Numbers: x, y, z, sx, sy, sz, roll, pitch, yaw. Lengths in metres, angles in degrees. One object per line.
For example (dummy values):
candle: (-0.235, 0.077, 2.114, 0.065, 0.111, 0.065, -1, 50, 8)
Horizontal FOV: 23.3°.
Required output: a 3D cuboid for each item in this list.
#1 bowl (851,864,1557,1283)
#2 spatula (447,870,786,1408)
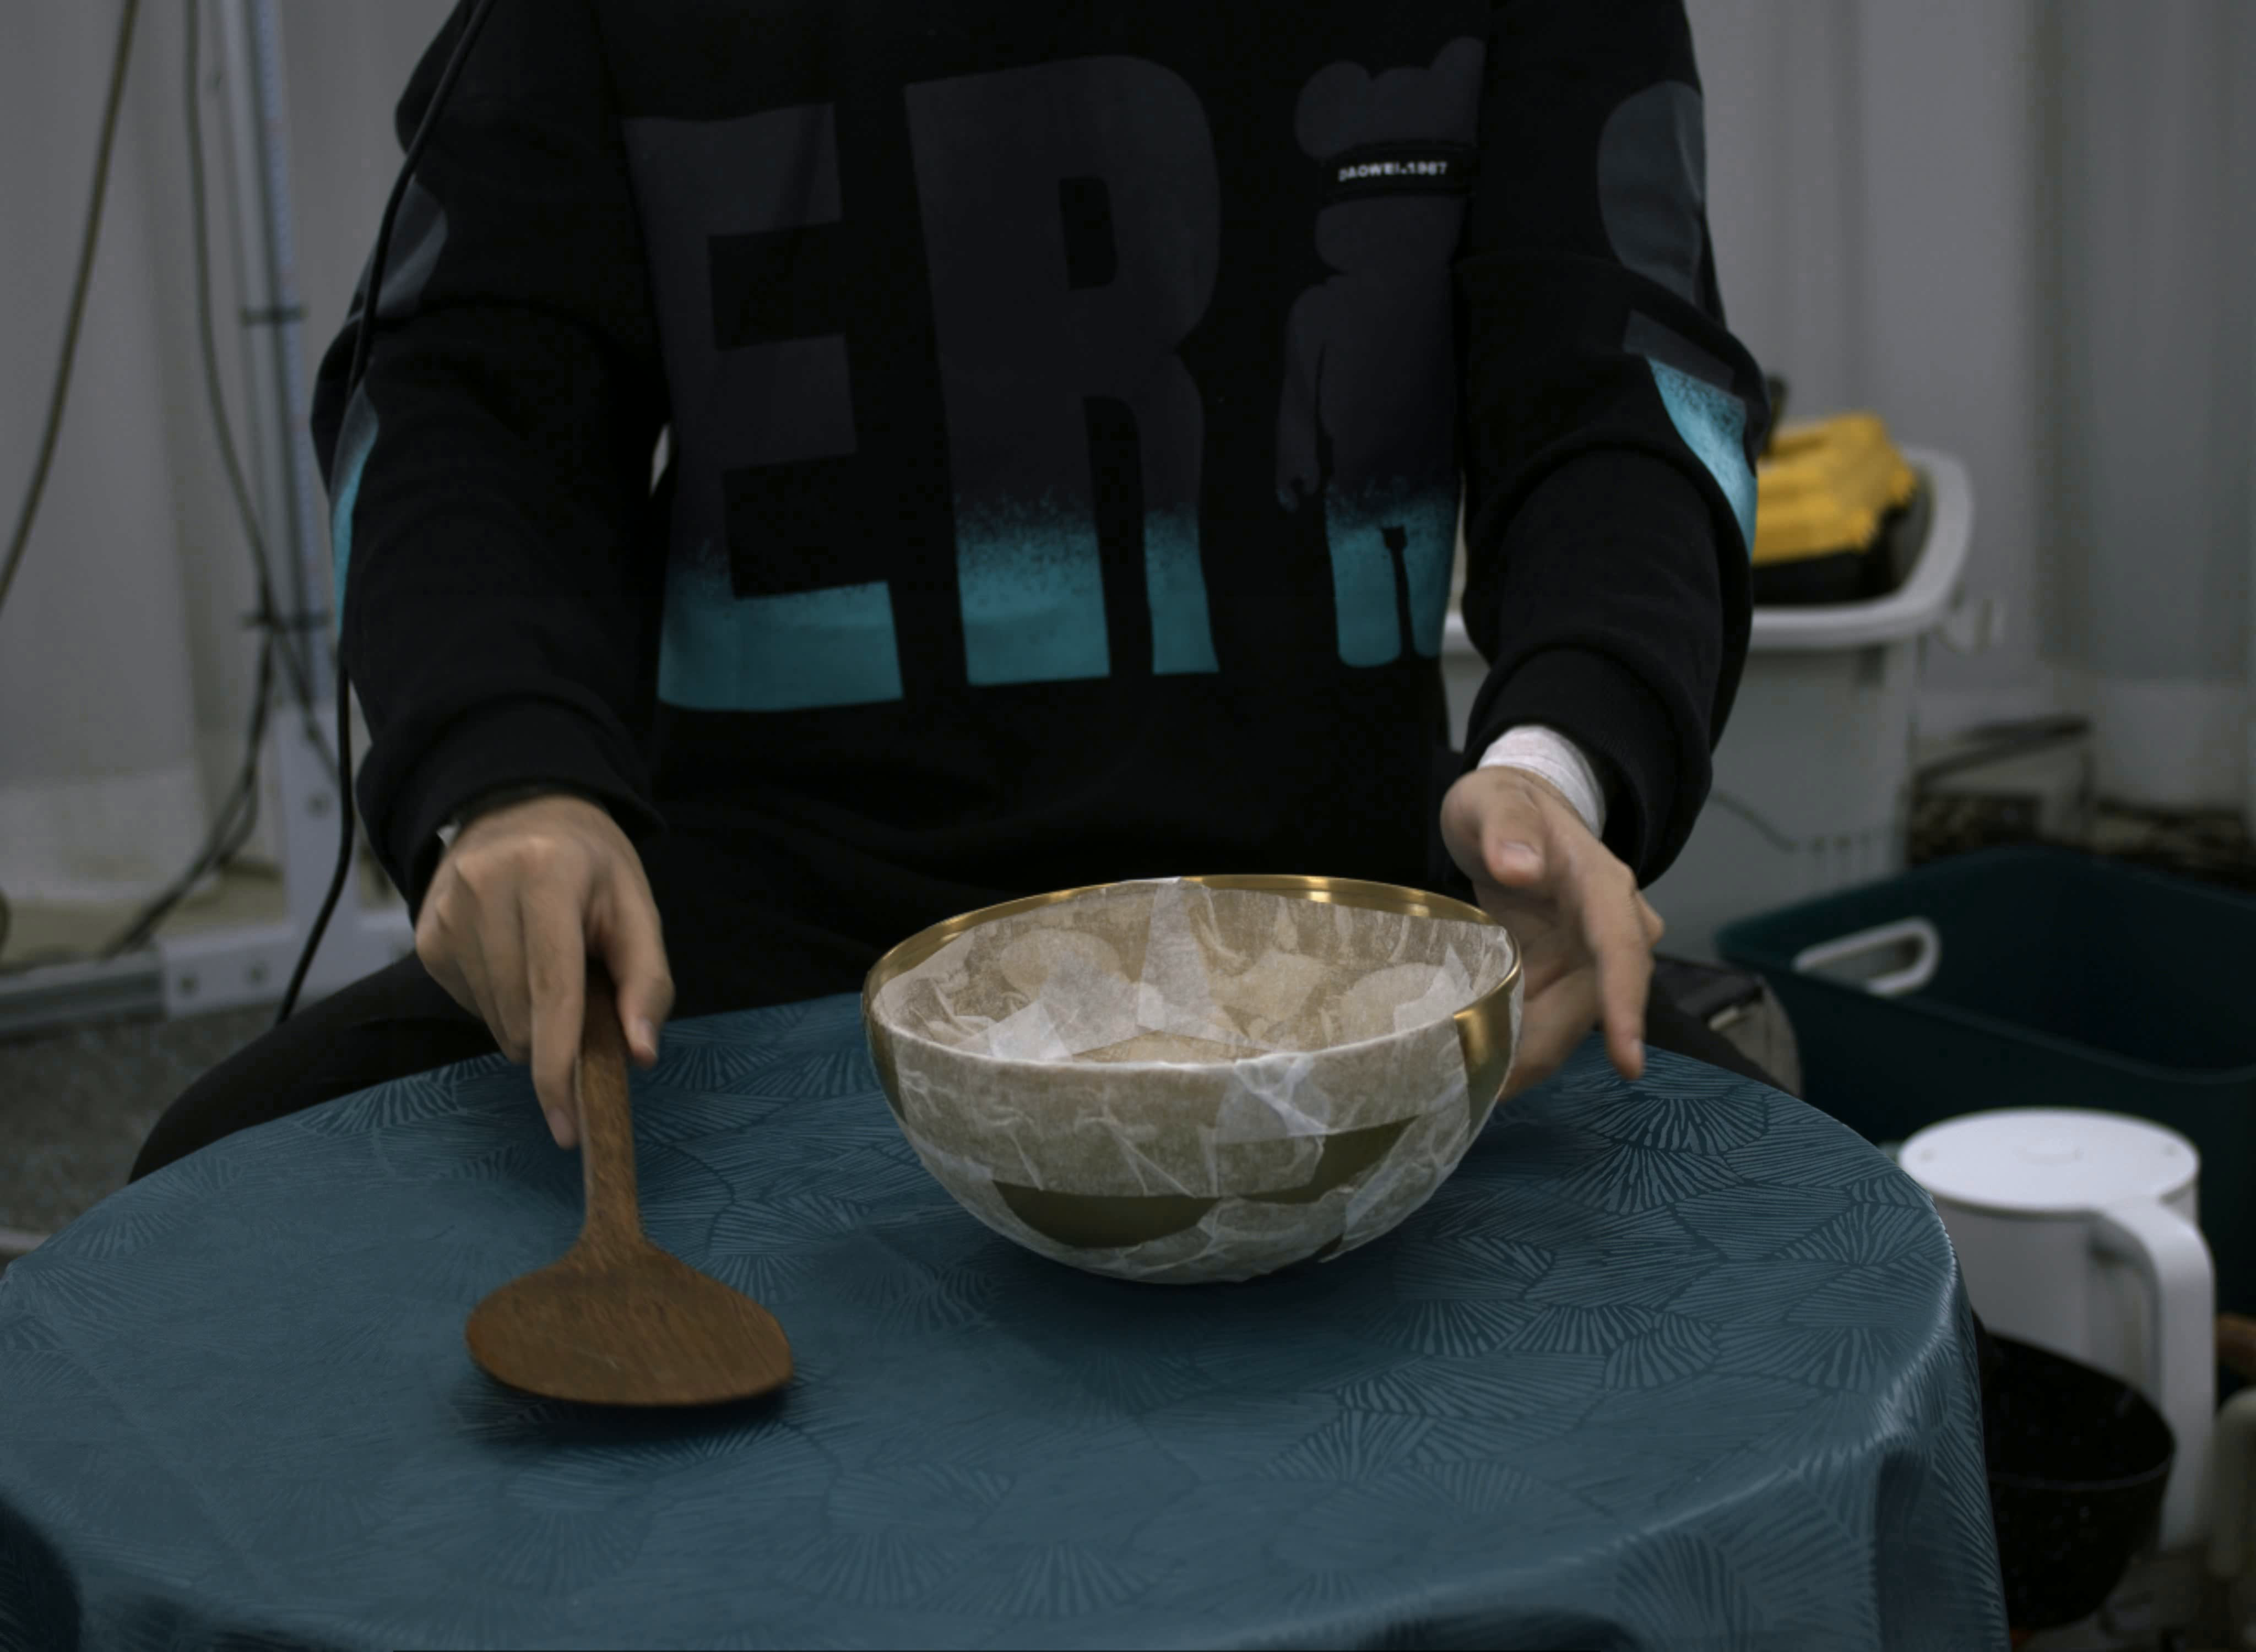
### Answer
bowl: (0.025, 0.083, 1.649, 0.214, 0.094, 0.216, -4, 14, 1)
spatula: (-0.165, 0.089, 1.697, 0.095, 0.015, 0.390, 0, 22, -8)
